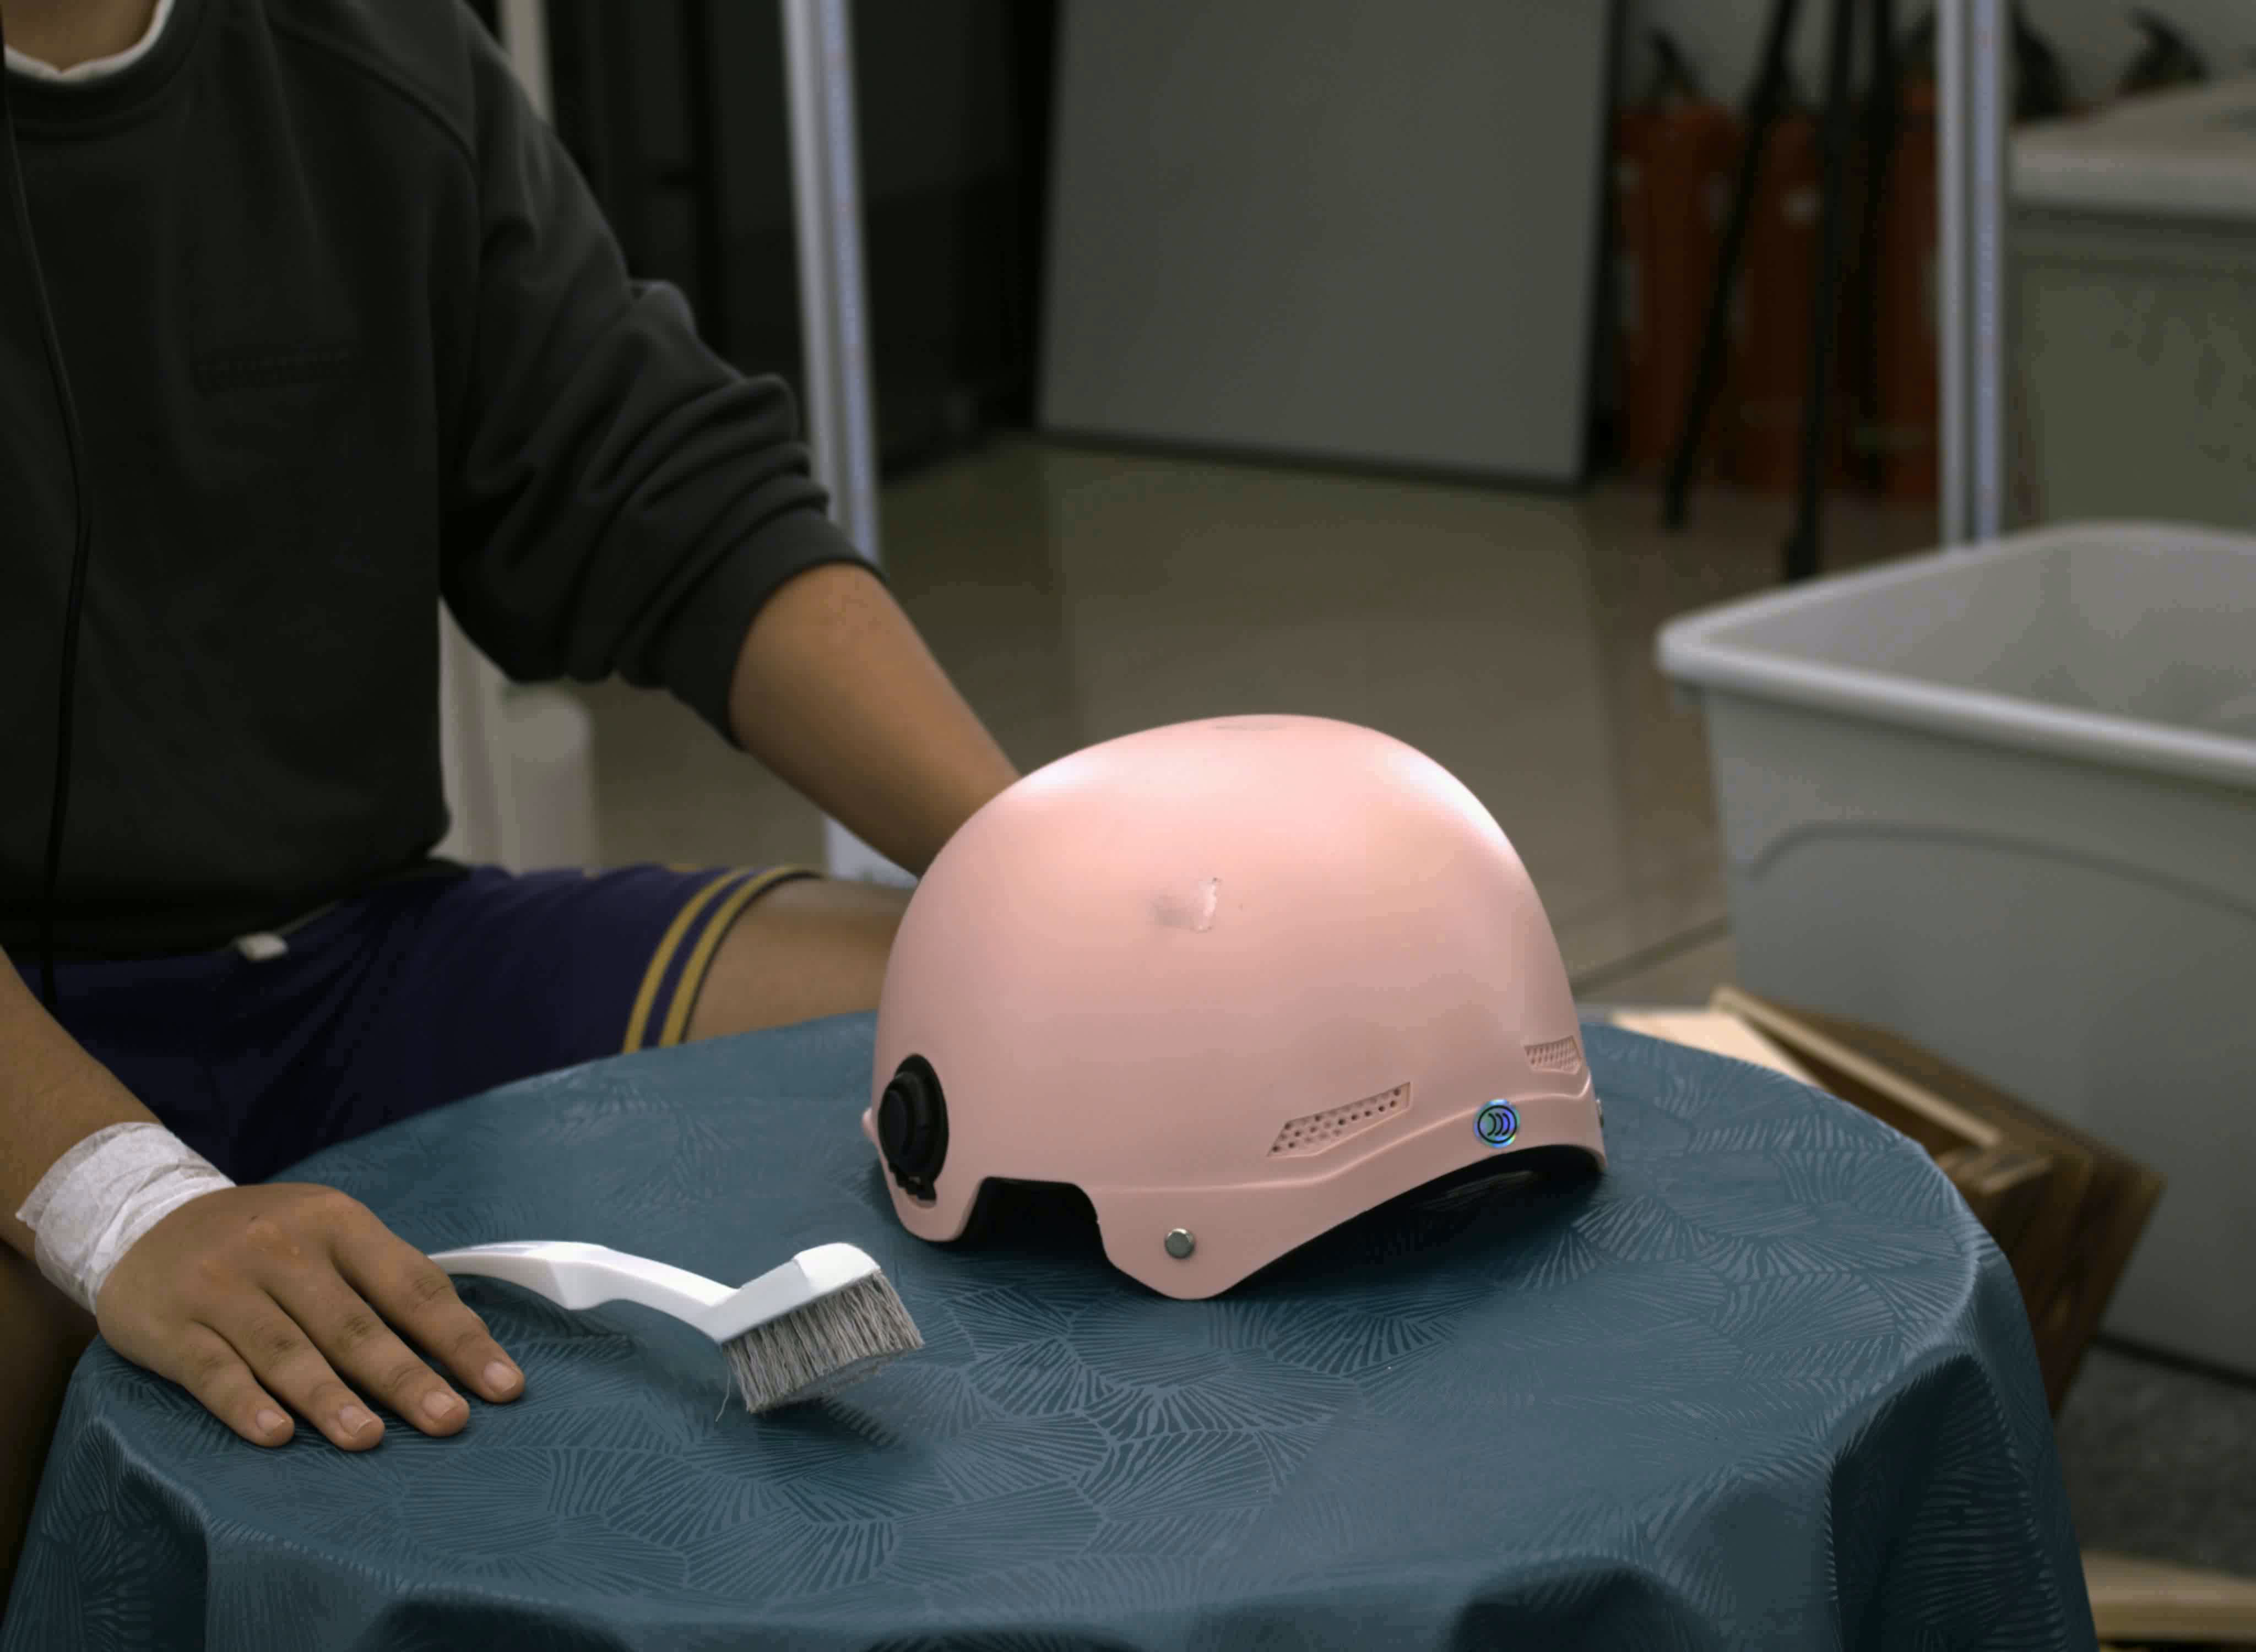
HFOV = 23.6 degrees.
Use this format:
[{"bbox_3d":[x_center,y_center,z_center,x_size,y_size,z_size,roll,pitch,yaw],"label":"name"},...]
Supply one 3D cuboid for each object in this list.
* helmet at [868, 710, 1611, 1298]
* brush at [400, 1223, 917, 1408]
[{"bbox_3d":[0.026,0.043,1.763,0.229,0.160,0.269,-15,13,-36],"label":"helmet"},{"bbox_3d":[-0.146,0.152,1.638,0.033,0.051,0.246,-9,-1,-40],"label":"brush"}]
